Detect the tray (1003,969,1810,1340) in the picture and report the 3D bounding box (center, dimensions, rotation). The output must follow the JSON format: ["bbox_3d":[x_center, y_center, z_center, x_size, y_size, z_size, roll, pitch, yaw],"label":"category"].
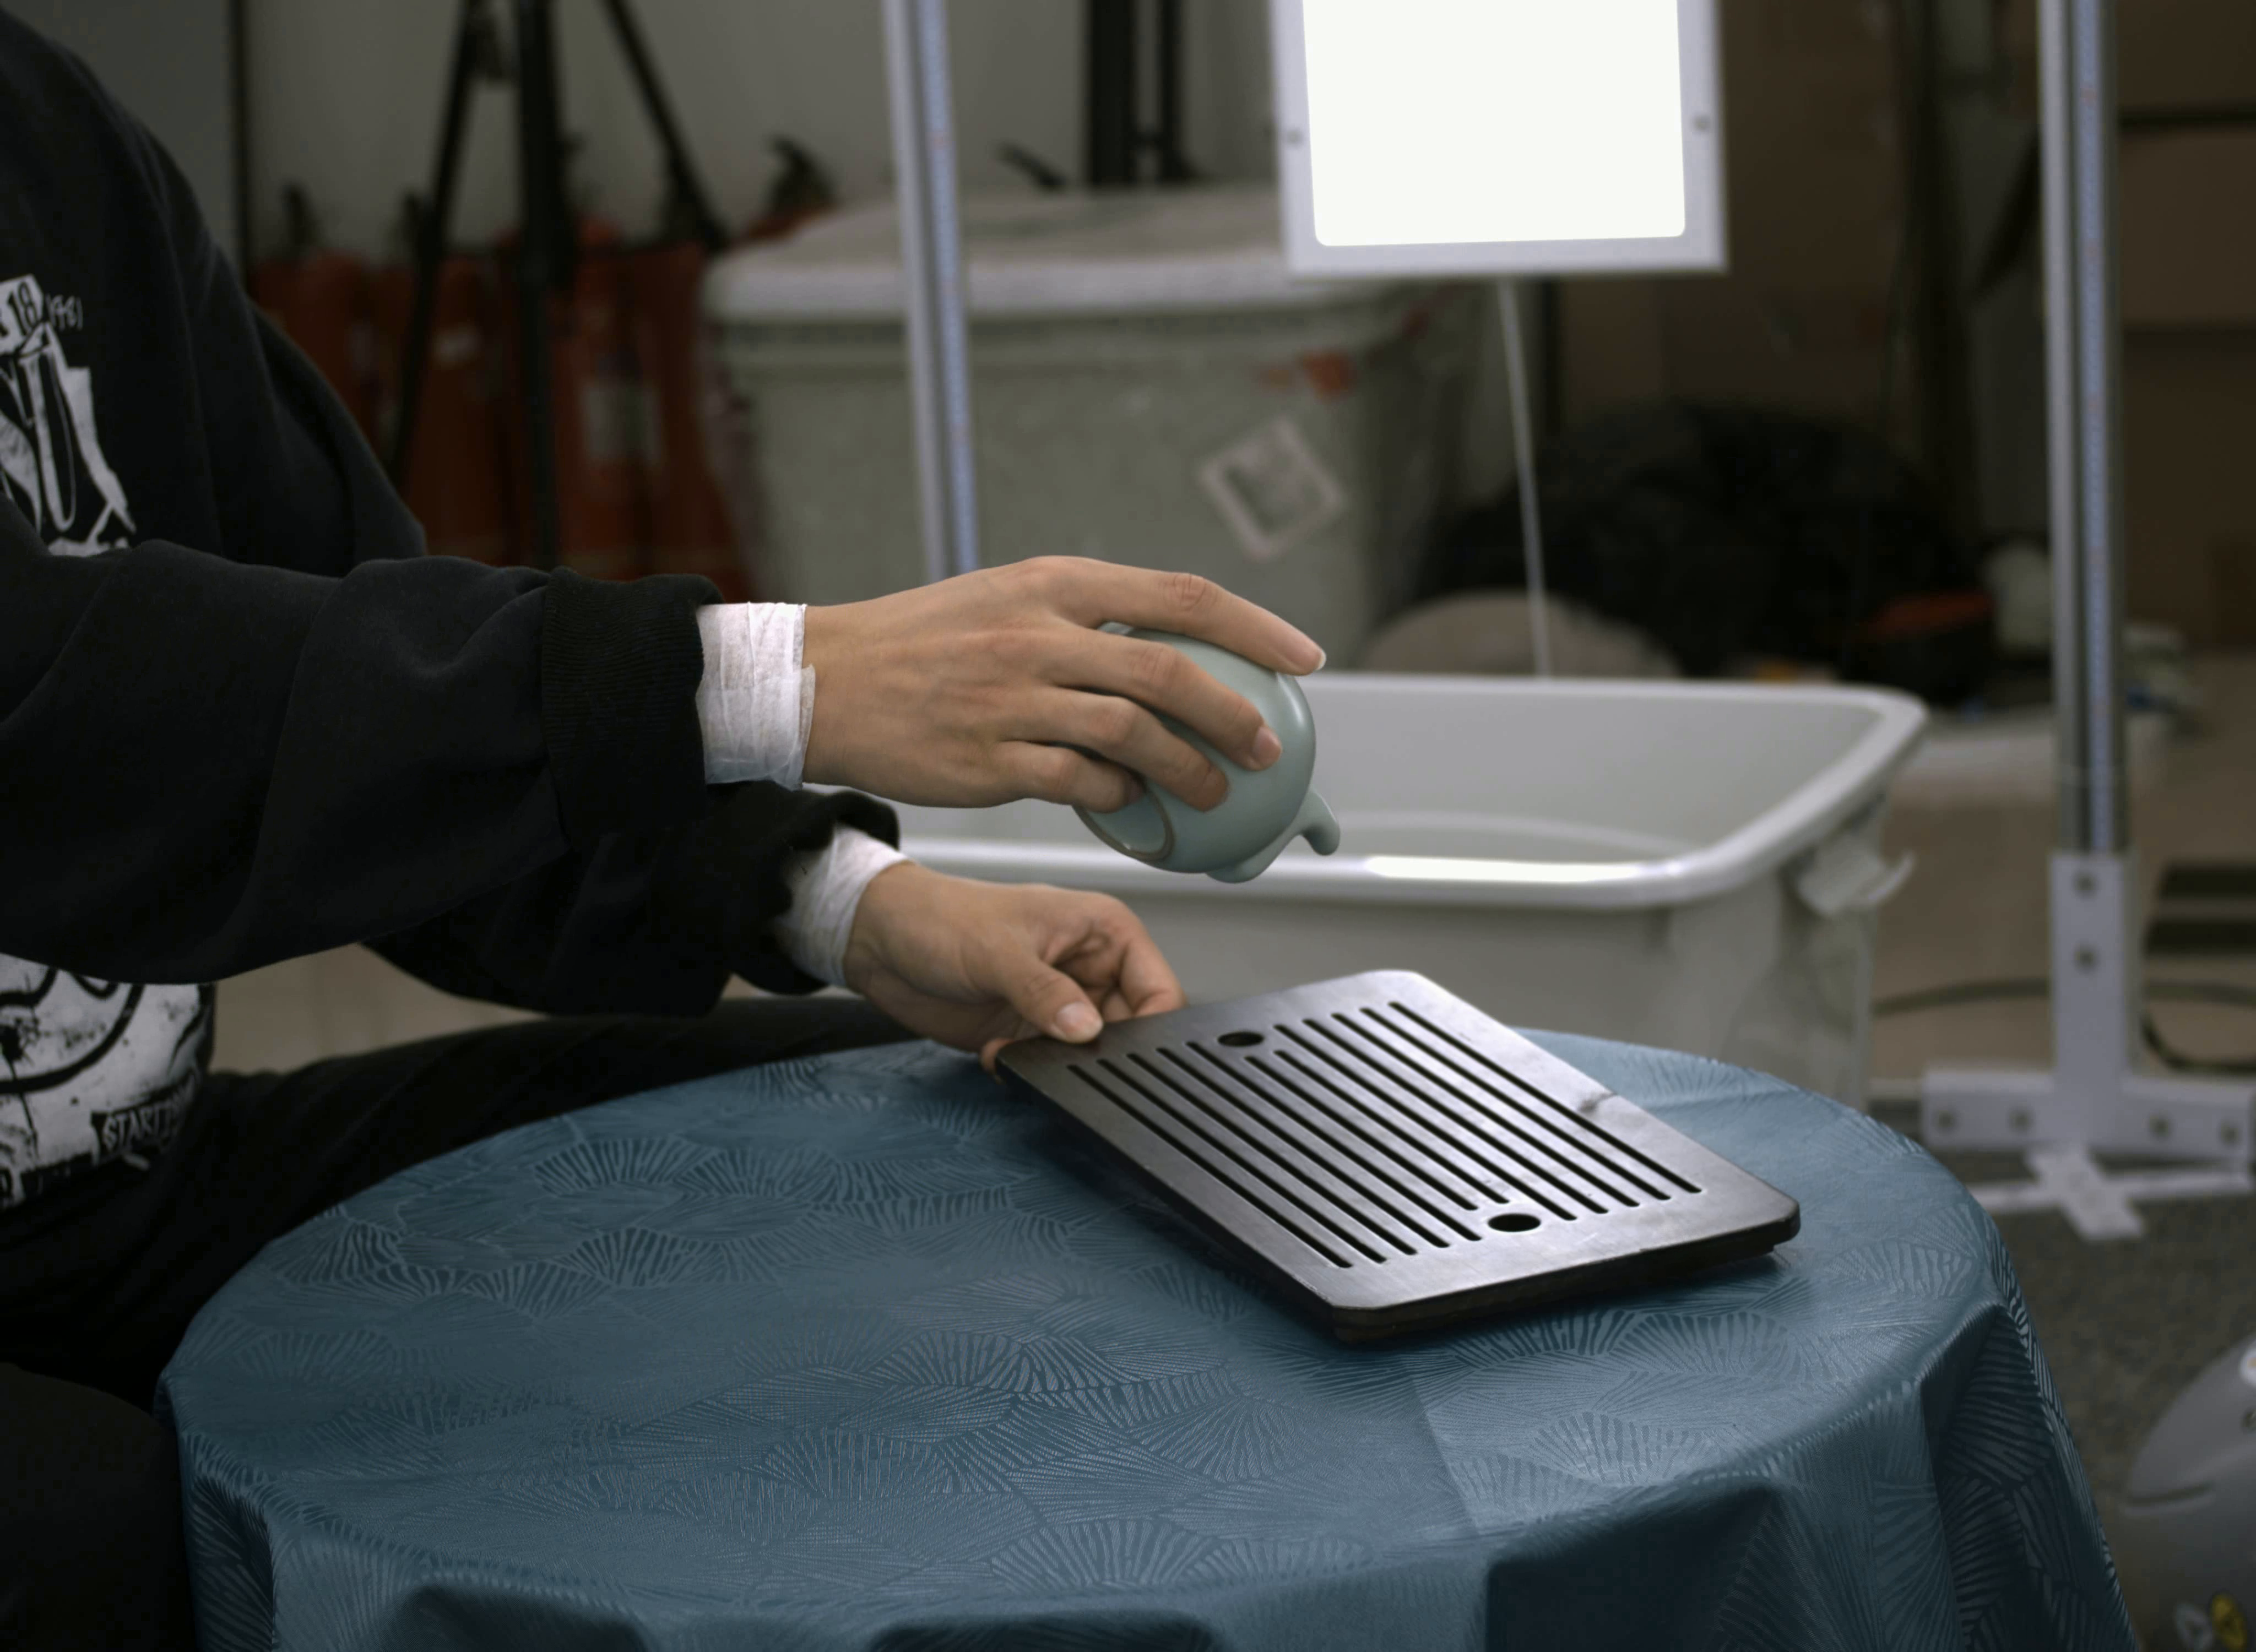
[{"bbox_3d":[0.088,0.108,1.874,0.167,0.019,0.310,-11,18,-20],"label":"tray"}]

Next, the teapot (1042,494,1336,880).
[{"bbox_3d":[0.016,-0.030,1.757,0.090,0.143,0.073,2,39,49],"label":"teapot"}]
